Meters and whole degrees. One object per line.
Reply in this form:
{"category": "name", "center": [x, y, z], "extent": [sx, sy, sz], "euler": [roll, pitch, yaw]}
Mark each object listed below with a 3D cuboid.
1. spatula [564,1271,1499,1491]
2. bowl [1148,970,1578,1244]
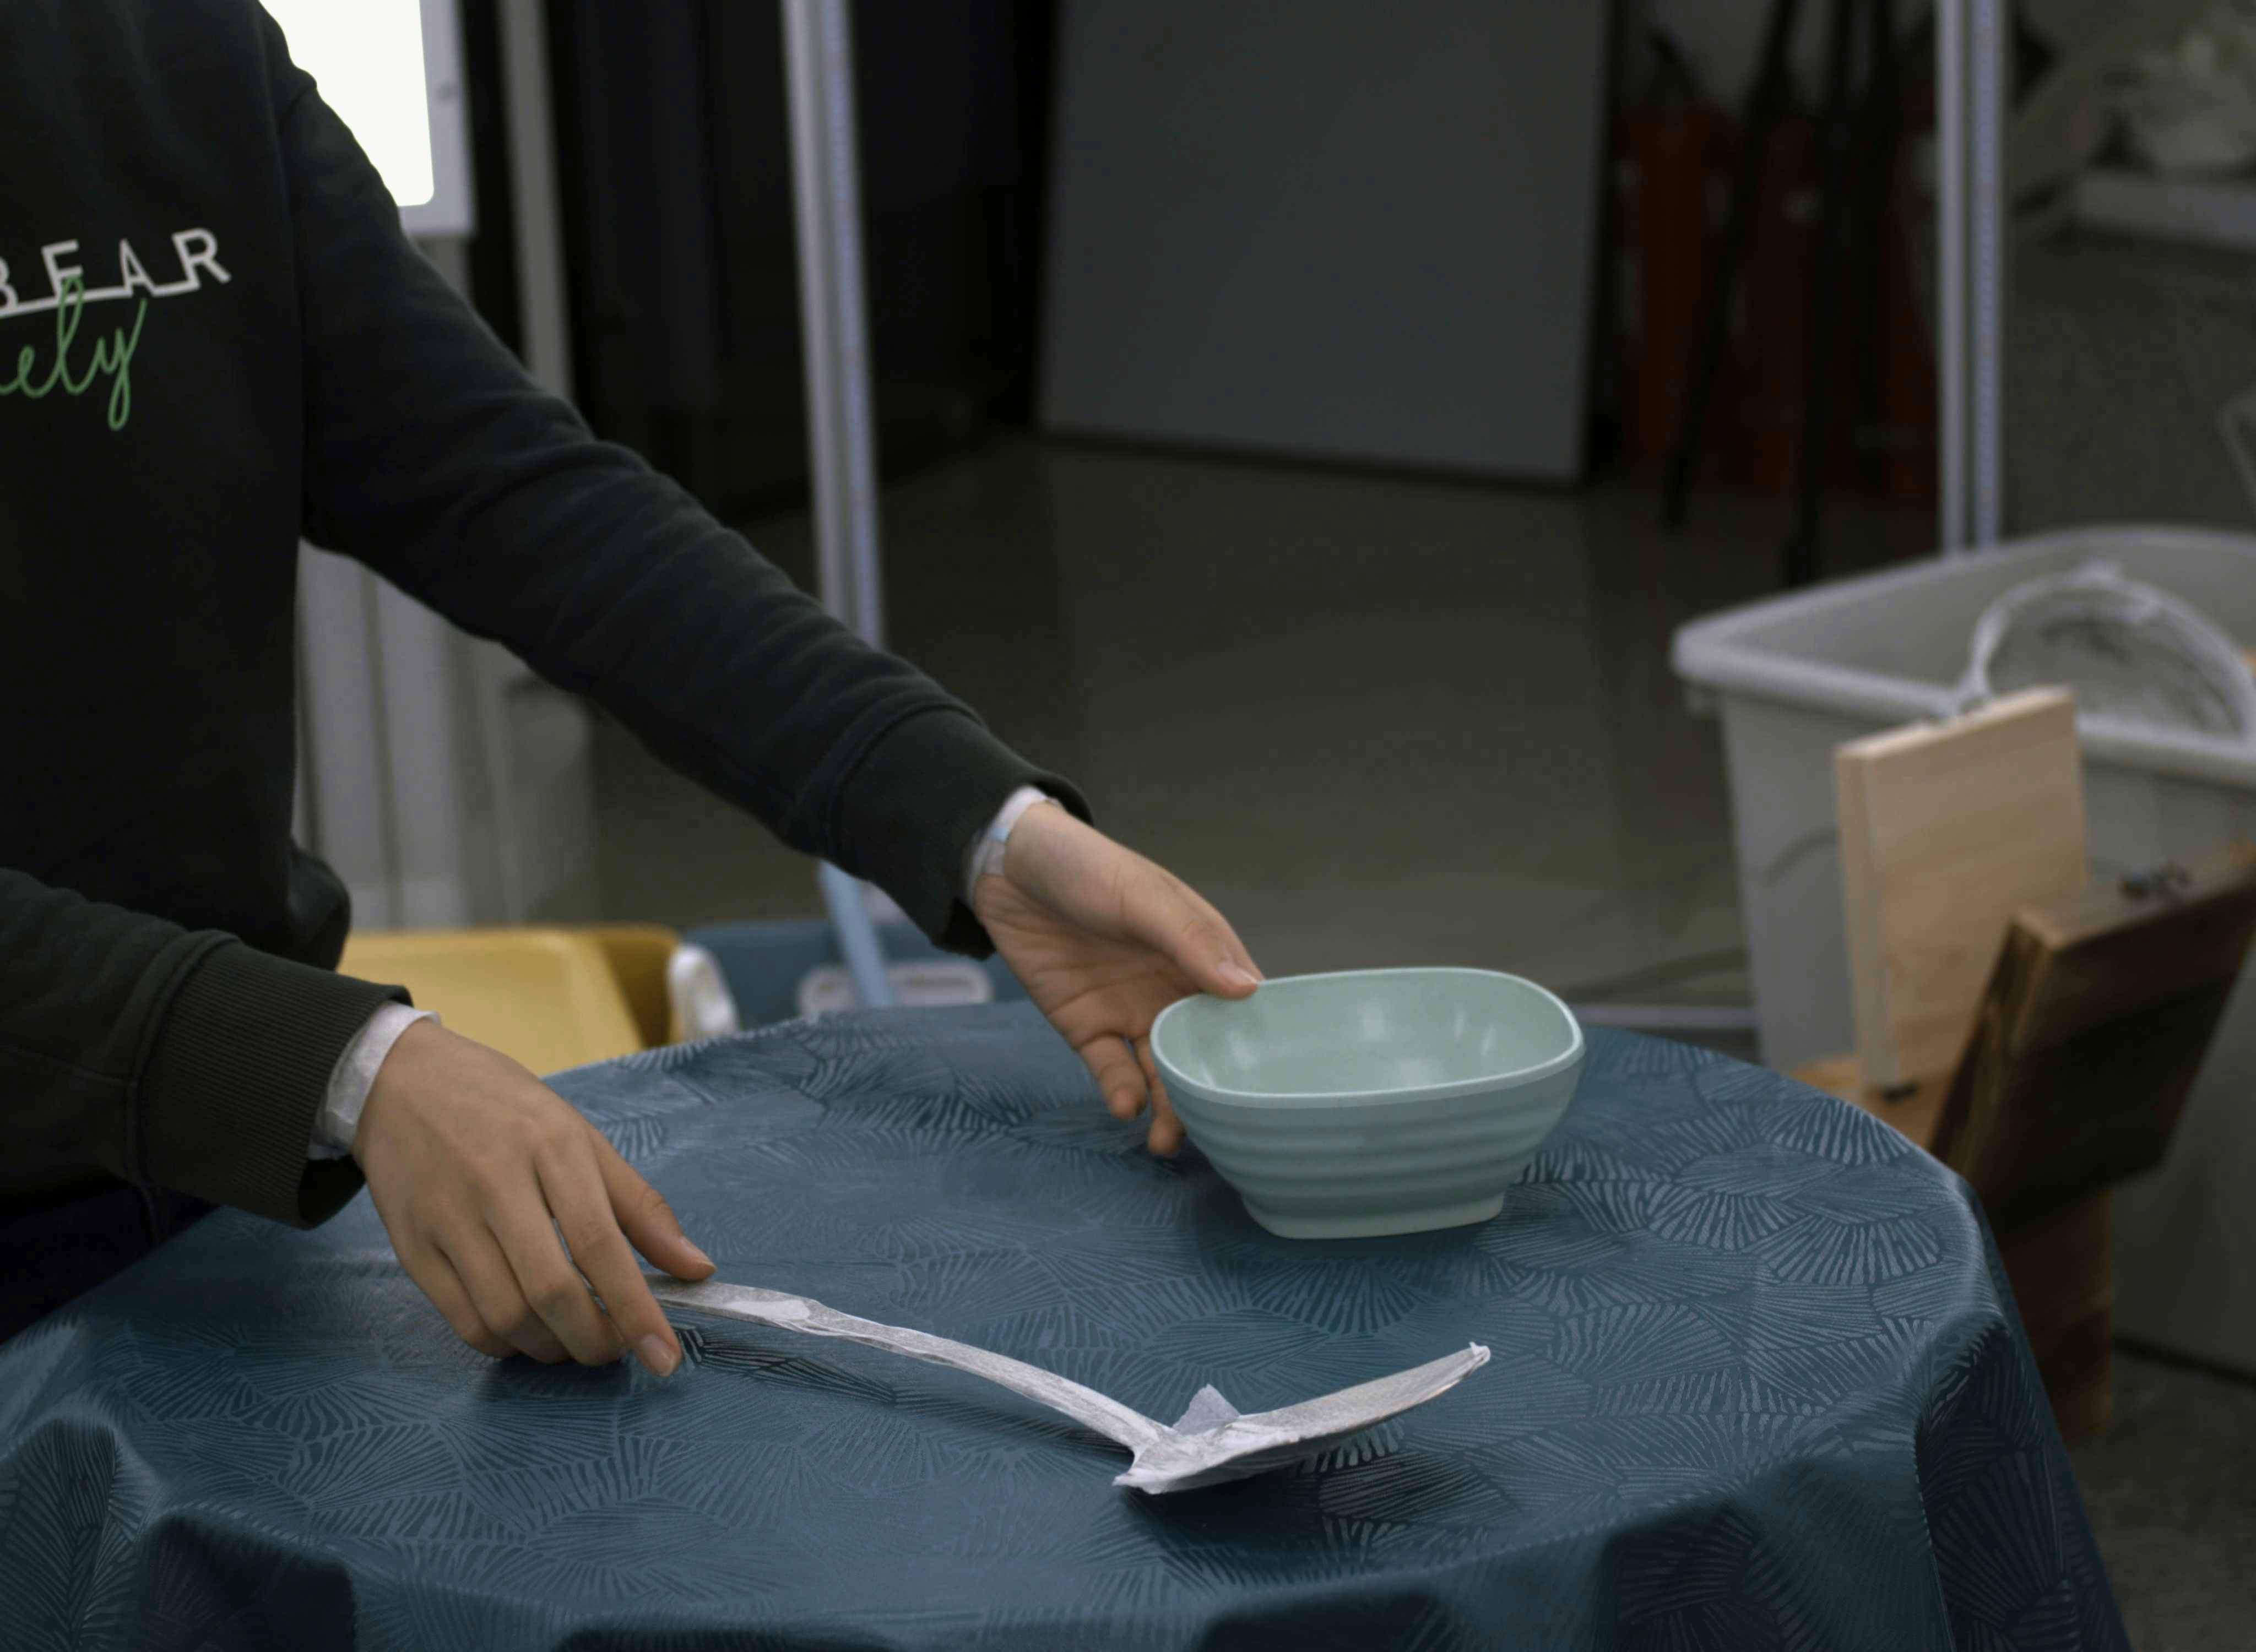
{"category": "spatula", "center": [-0.050, 0.151, 1.584], "extent": [0.368, 0.045, 0.097], "euler": [9, 21, 42]}
{"category": "bowl", "center": [0.076, 0.094, 1.743], "extent": [0.149, 0.059, 0.152], "euler": [-2, 15, 0]}
